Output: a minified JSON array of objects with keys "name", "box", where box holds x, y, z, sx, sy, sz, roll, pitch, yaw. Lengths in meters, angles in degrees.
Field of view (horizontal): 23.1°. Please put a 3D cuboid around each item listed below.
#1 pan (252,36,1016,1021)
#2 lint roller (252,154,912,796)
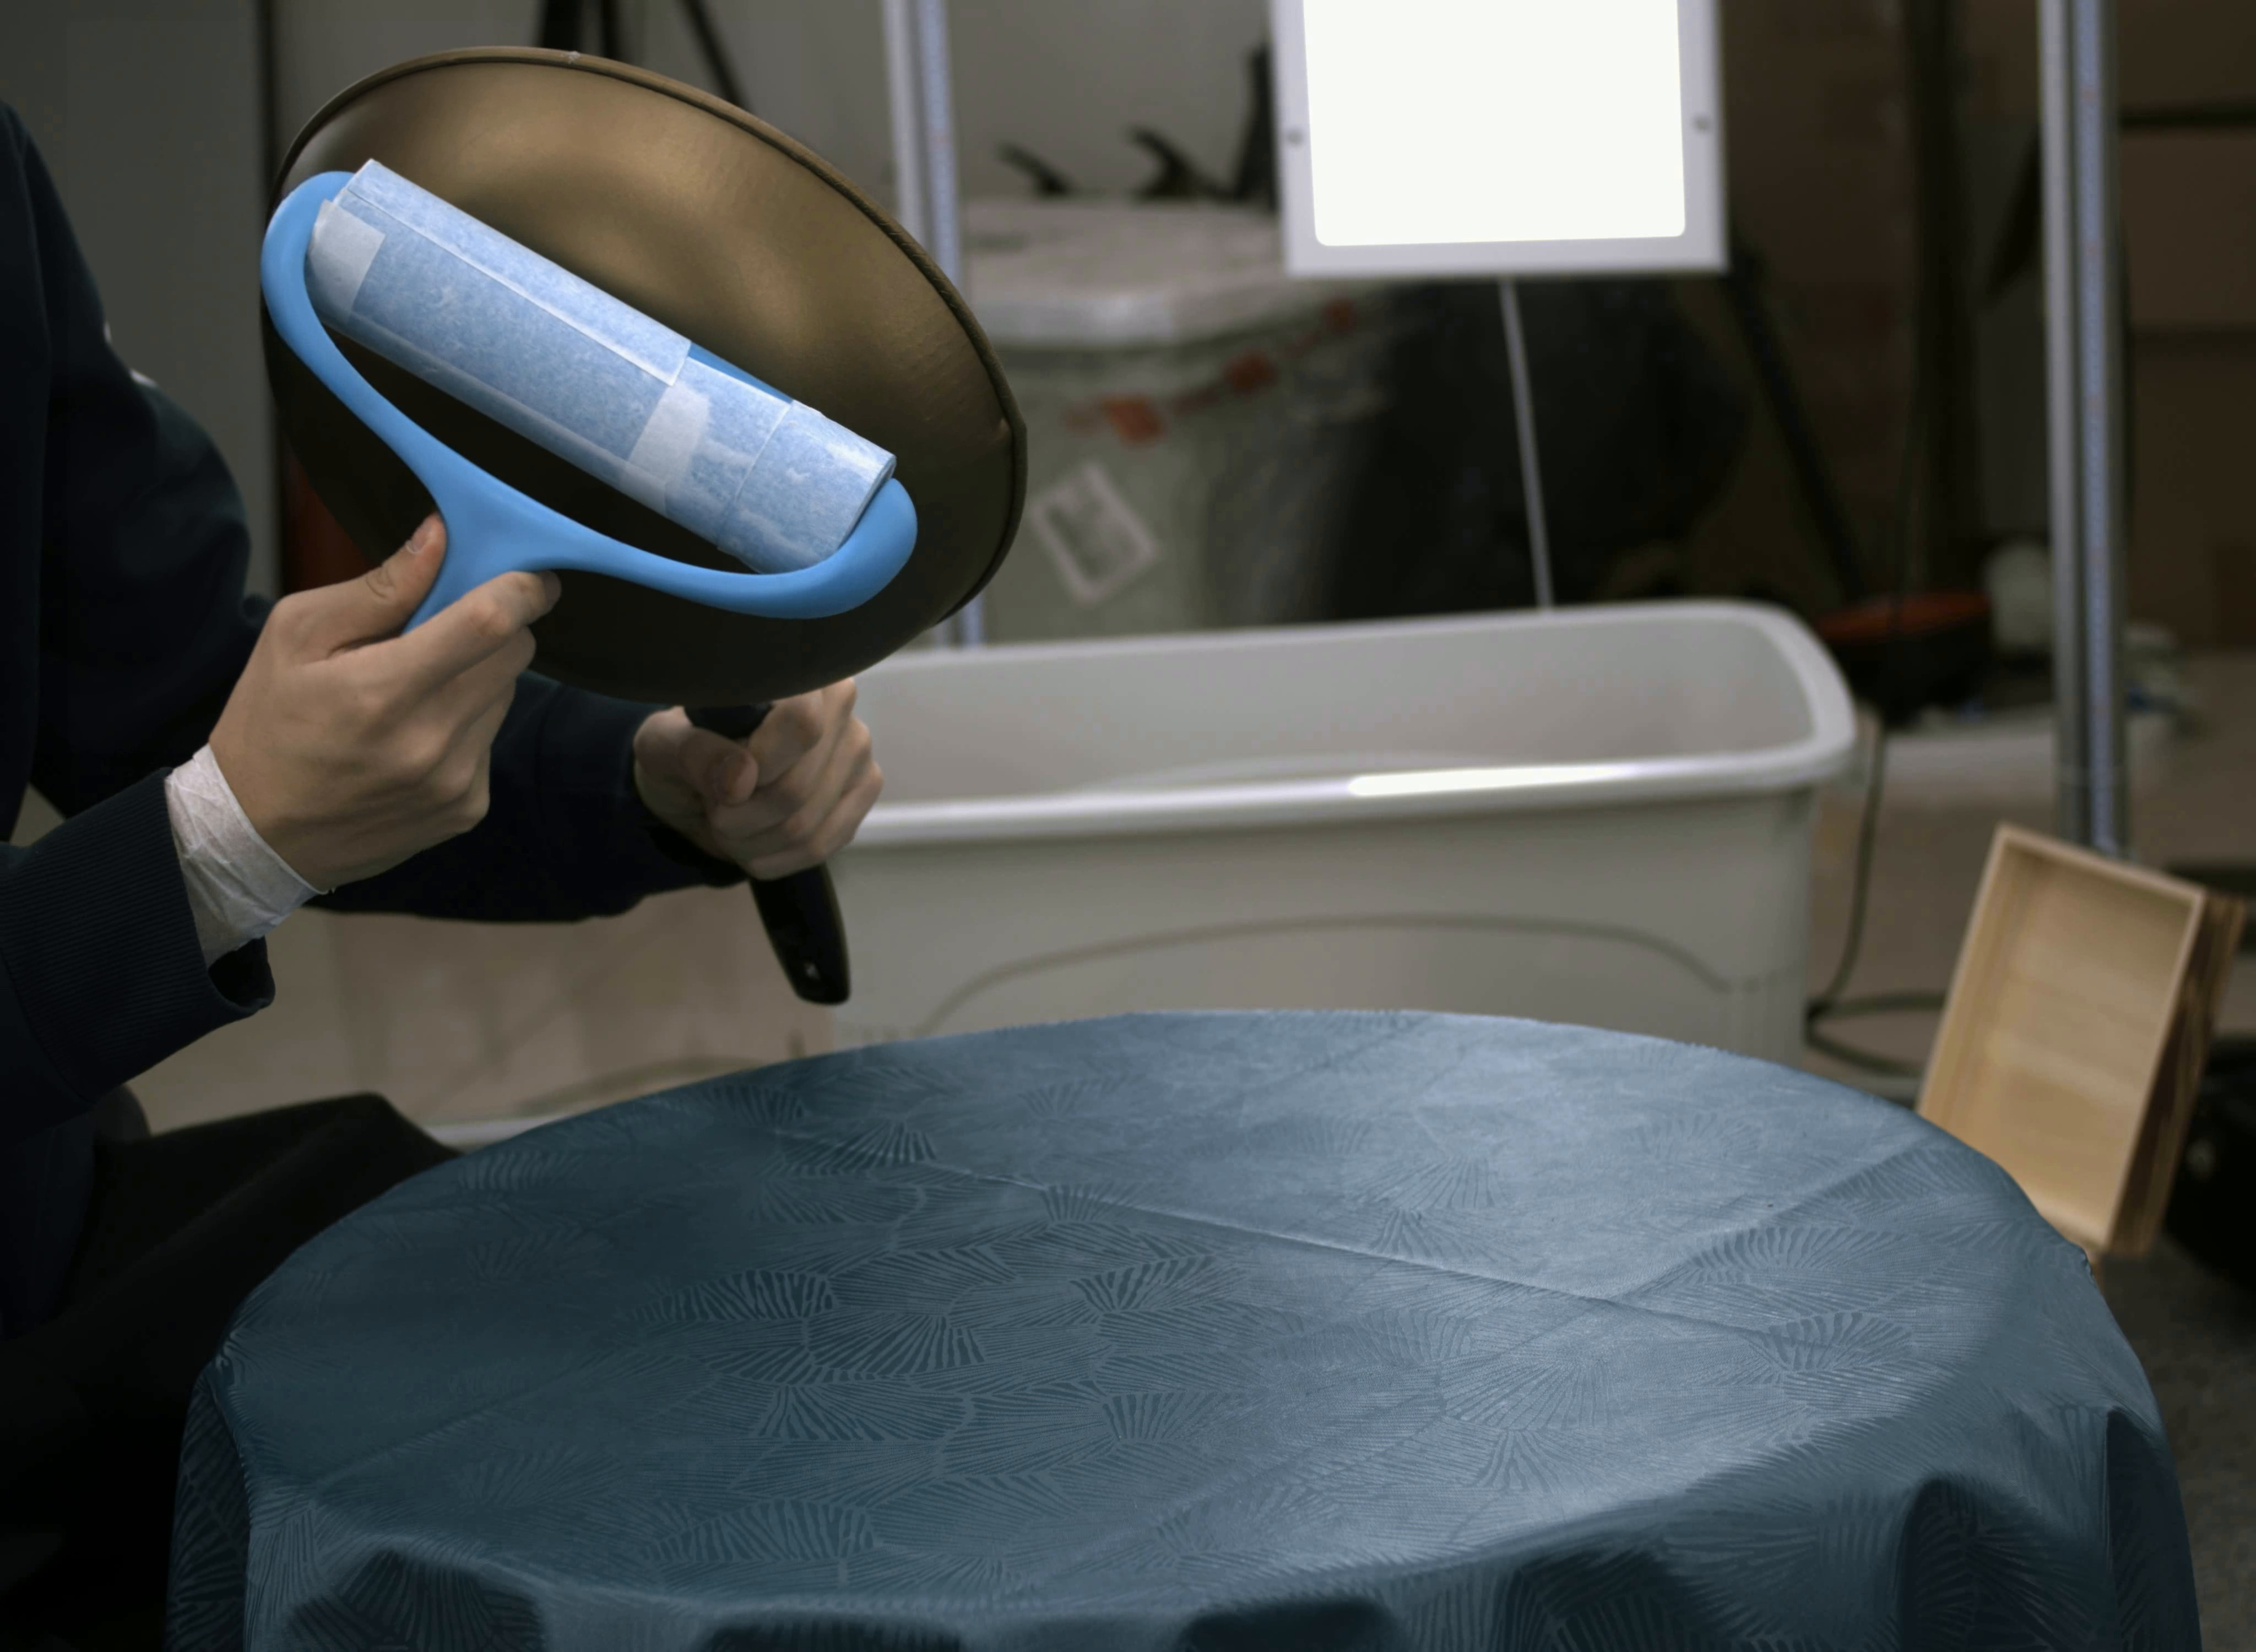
[{"name":"pan","box":[-0.167,-0.069,1.932,0.292,0.463,0.085,10,49,23]},{"name":"lint roller","box":[-0.198,-0.092,1.749,0.228,0.180,0.068,26,-5,0]}]
